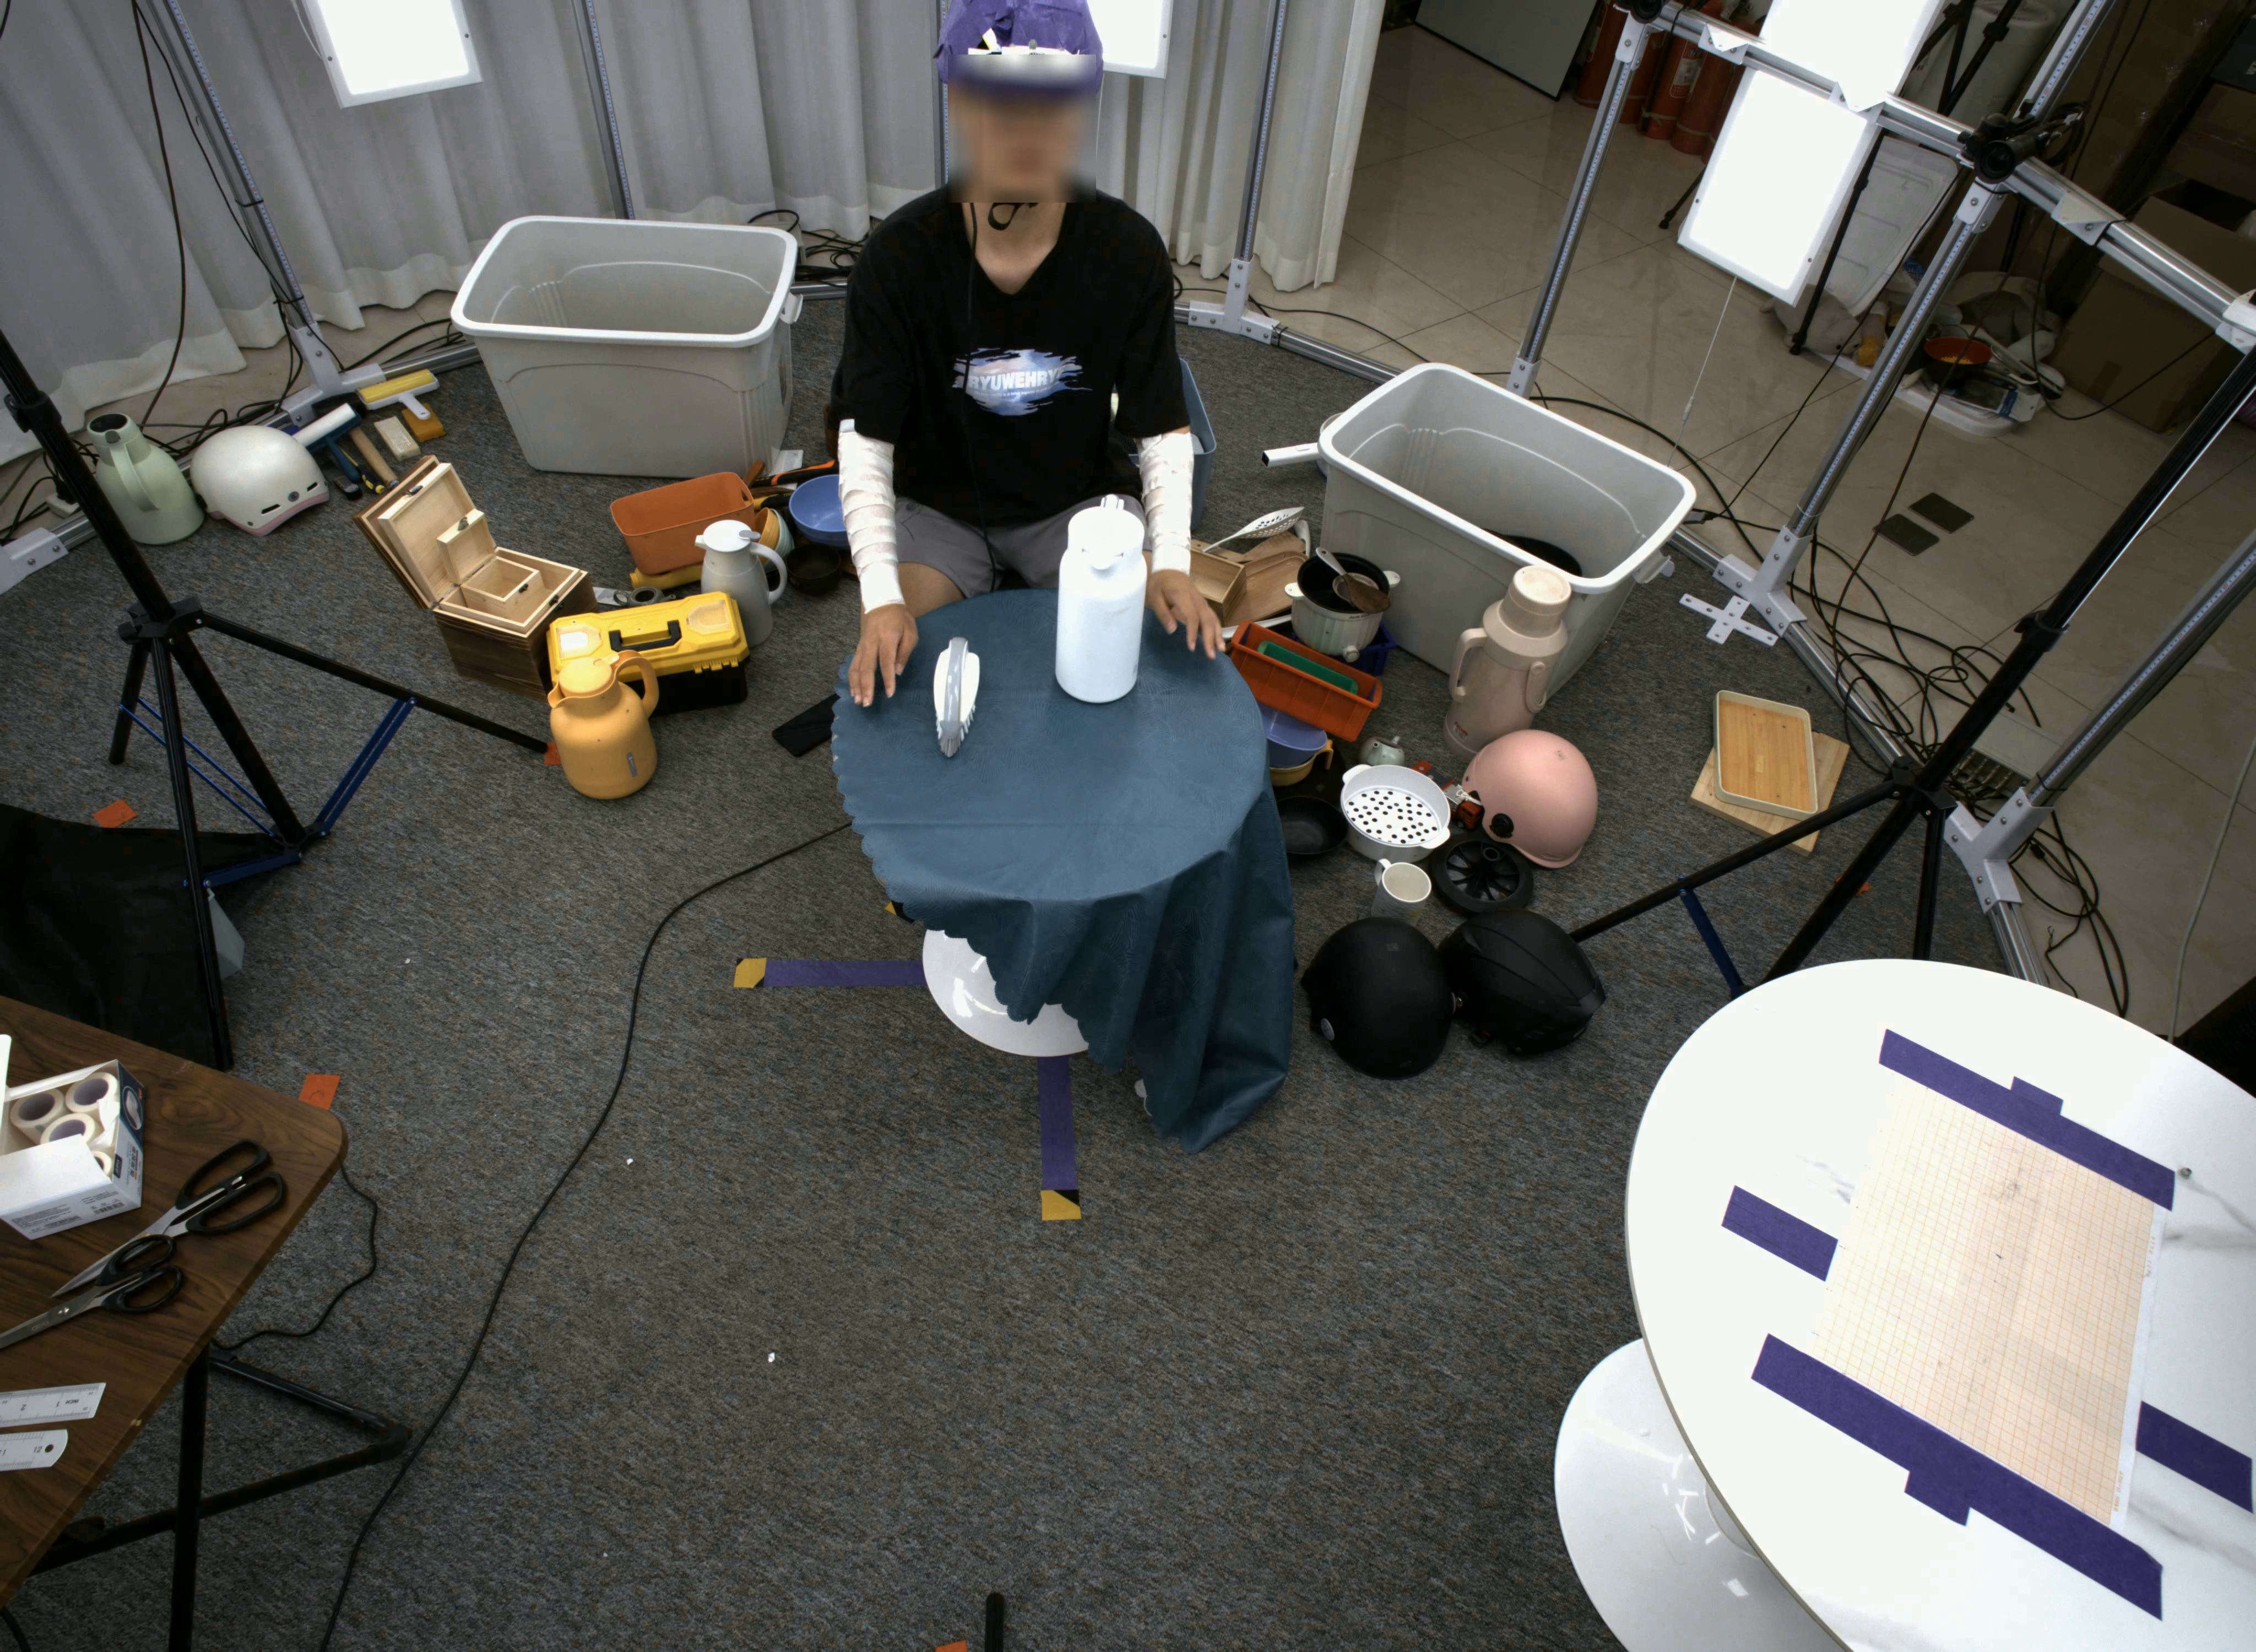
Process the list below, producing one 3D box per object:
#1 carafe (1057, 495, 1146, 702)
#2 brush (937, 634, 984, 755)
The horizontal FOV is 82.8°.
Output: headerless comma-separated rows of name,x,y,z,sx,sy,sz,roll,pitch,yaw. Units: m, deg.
carafe,-0.037,-0.314,1.769,0.124,0.262,0.177,4,49,2
brush,-0.233,-0.189,1.763,0.061,0.092,0.180,2,51,0
